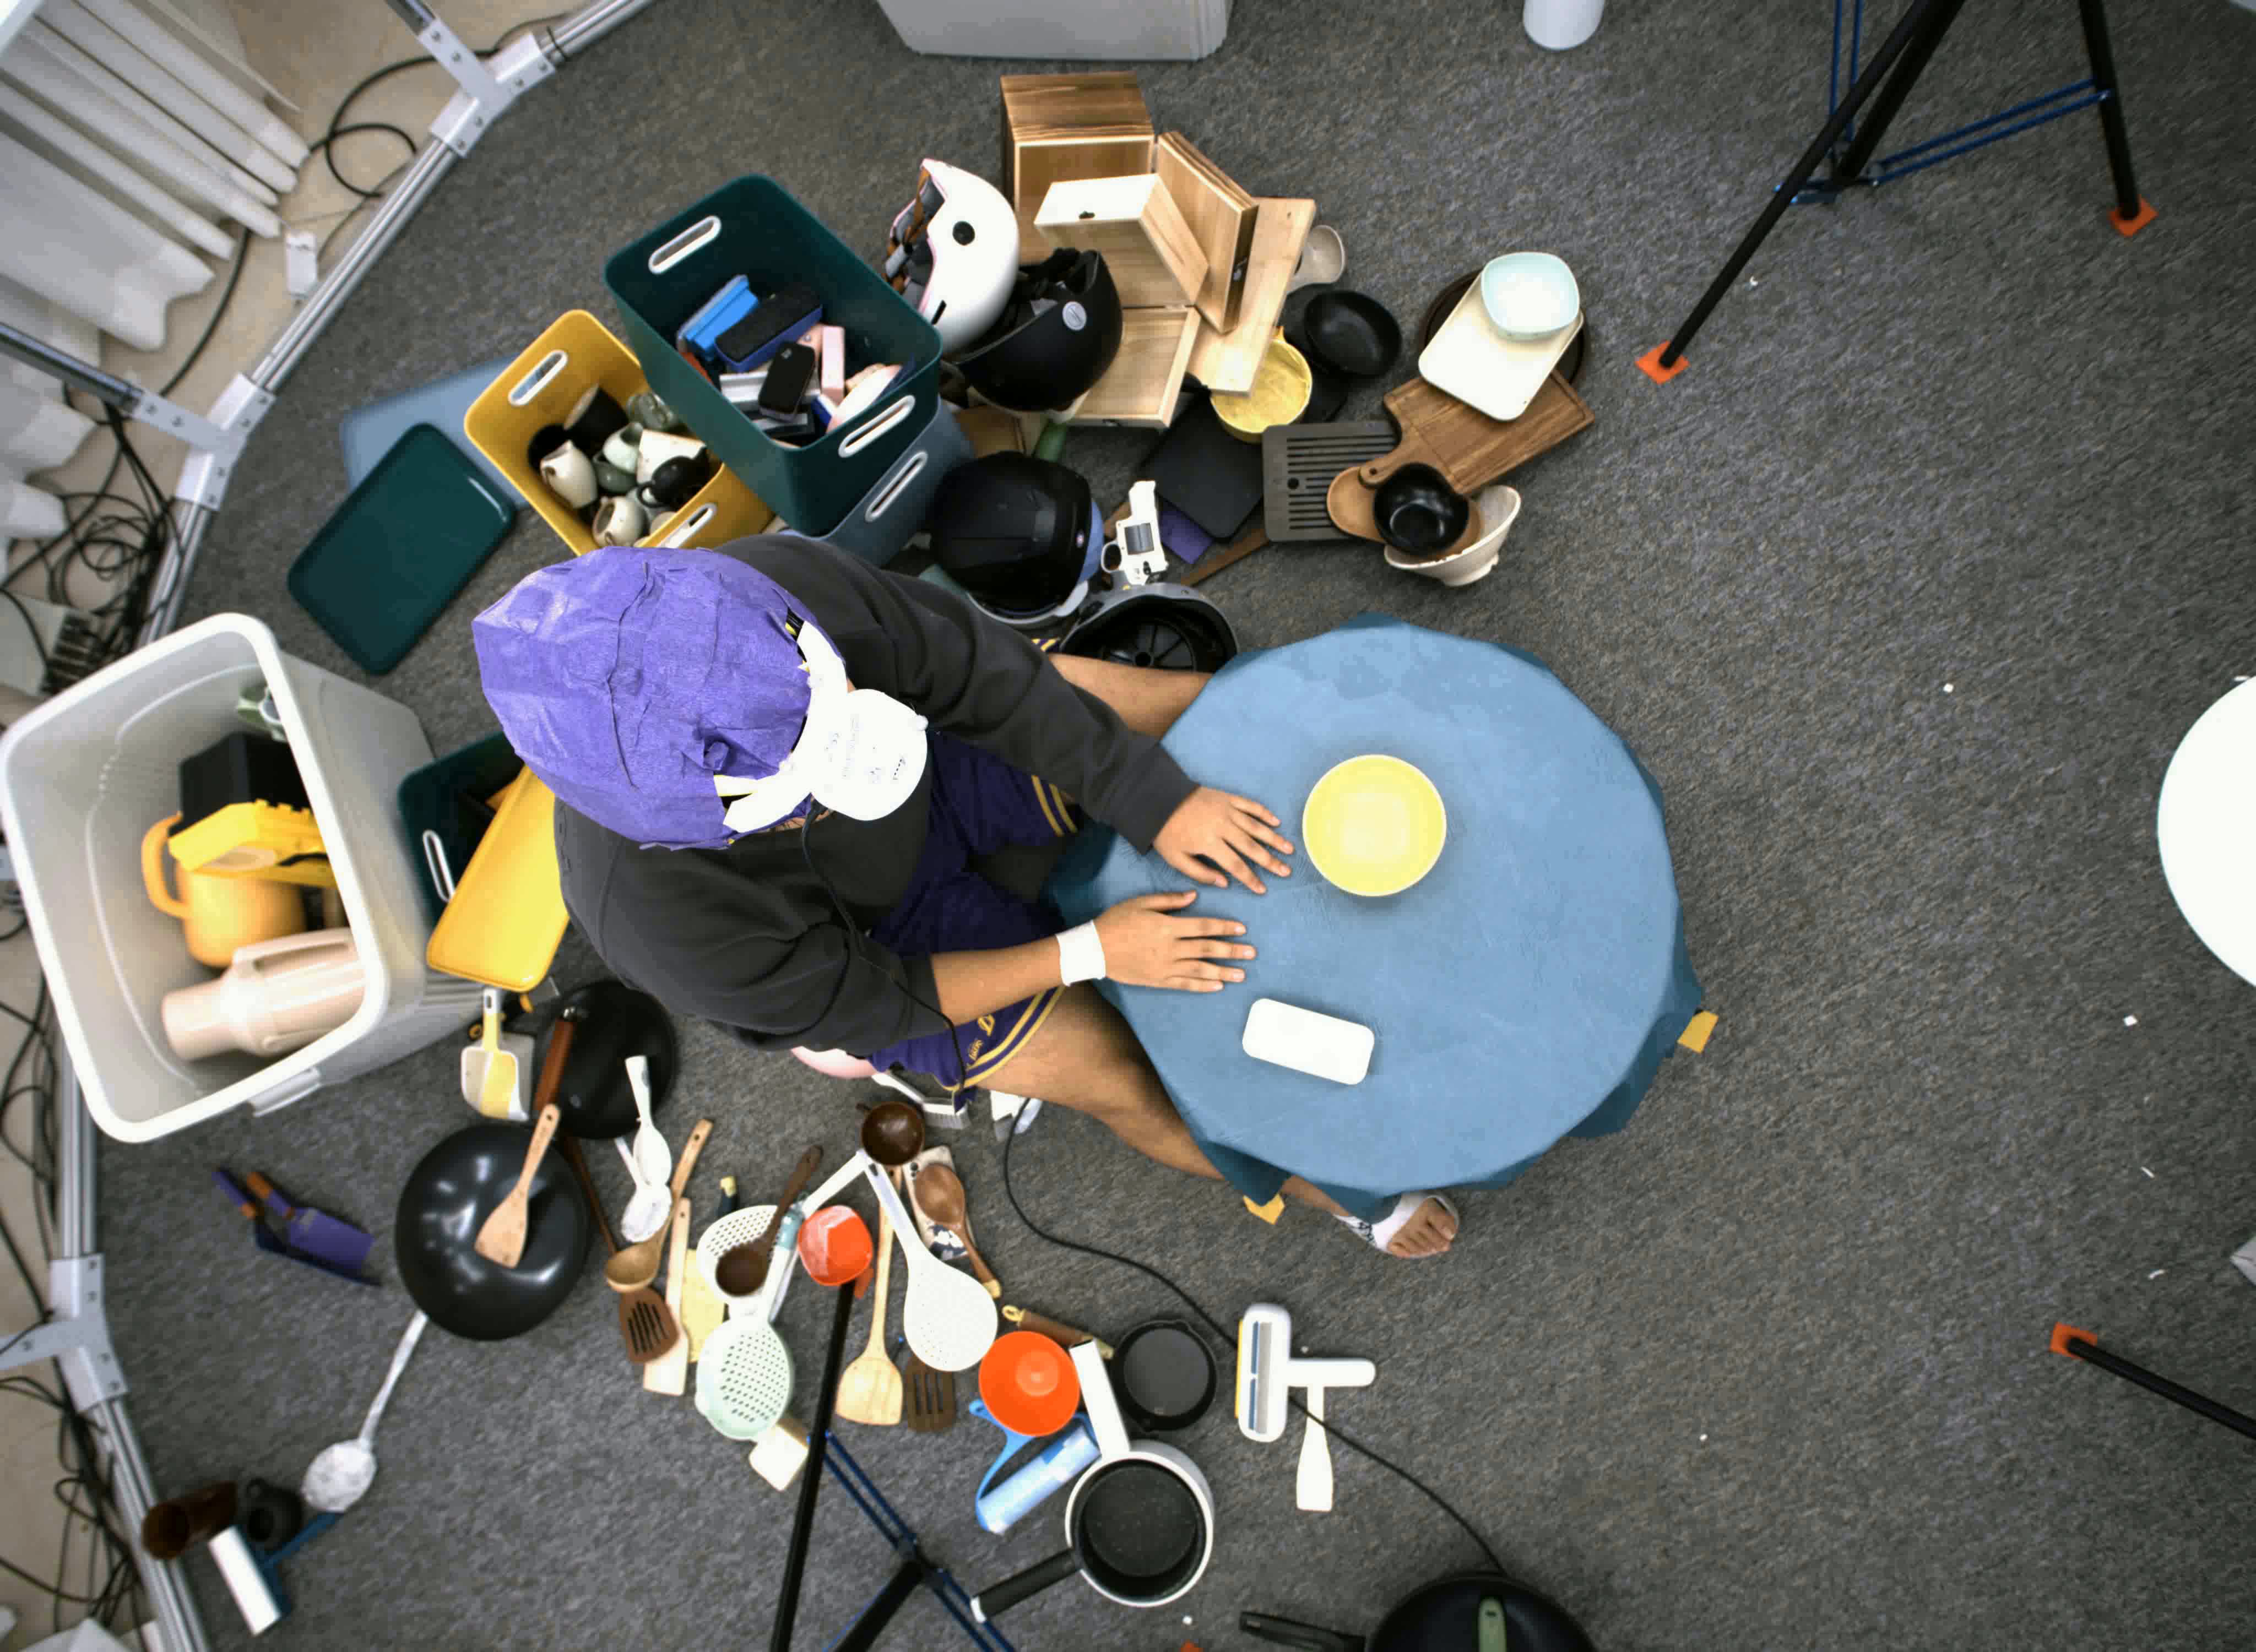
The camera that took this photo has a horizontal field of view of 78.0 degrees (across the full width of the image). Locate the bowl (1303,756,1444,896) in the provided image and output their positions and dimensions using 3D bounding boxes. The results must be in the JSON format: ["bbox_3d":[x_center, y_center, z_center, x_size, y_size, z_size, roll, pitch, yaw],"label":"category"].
[{"bbox_3d":[0.256,0.002,1.439,0.146,0.060,0.144,-1,85,12],"label":"bowl"}]

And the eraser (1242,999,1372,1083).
[{"bbox_3d":[0.187,0.222,1.450,0.131,0.034,0.063,15,88,10],"label":"eraser"}]
